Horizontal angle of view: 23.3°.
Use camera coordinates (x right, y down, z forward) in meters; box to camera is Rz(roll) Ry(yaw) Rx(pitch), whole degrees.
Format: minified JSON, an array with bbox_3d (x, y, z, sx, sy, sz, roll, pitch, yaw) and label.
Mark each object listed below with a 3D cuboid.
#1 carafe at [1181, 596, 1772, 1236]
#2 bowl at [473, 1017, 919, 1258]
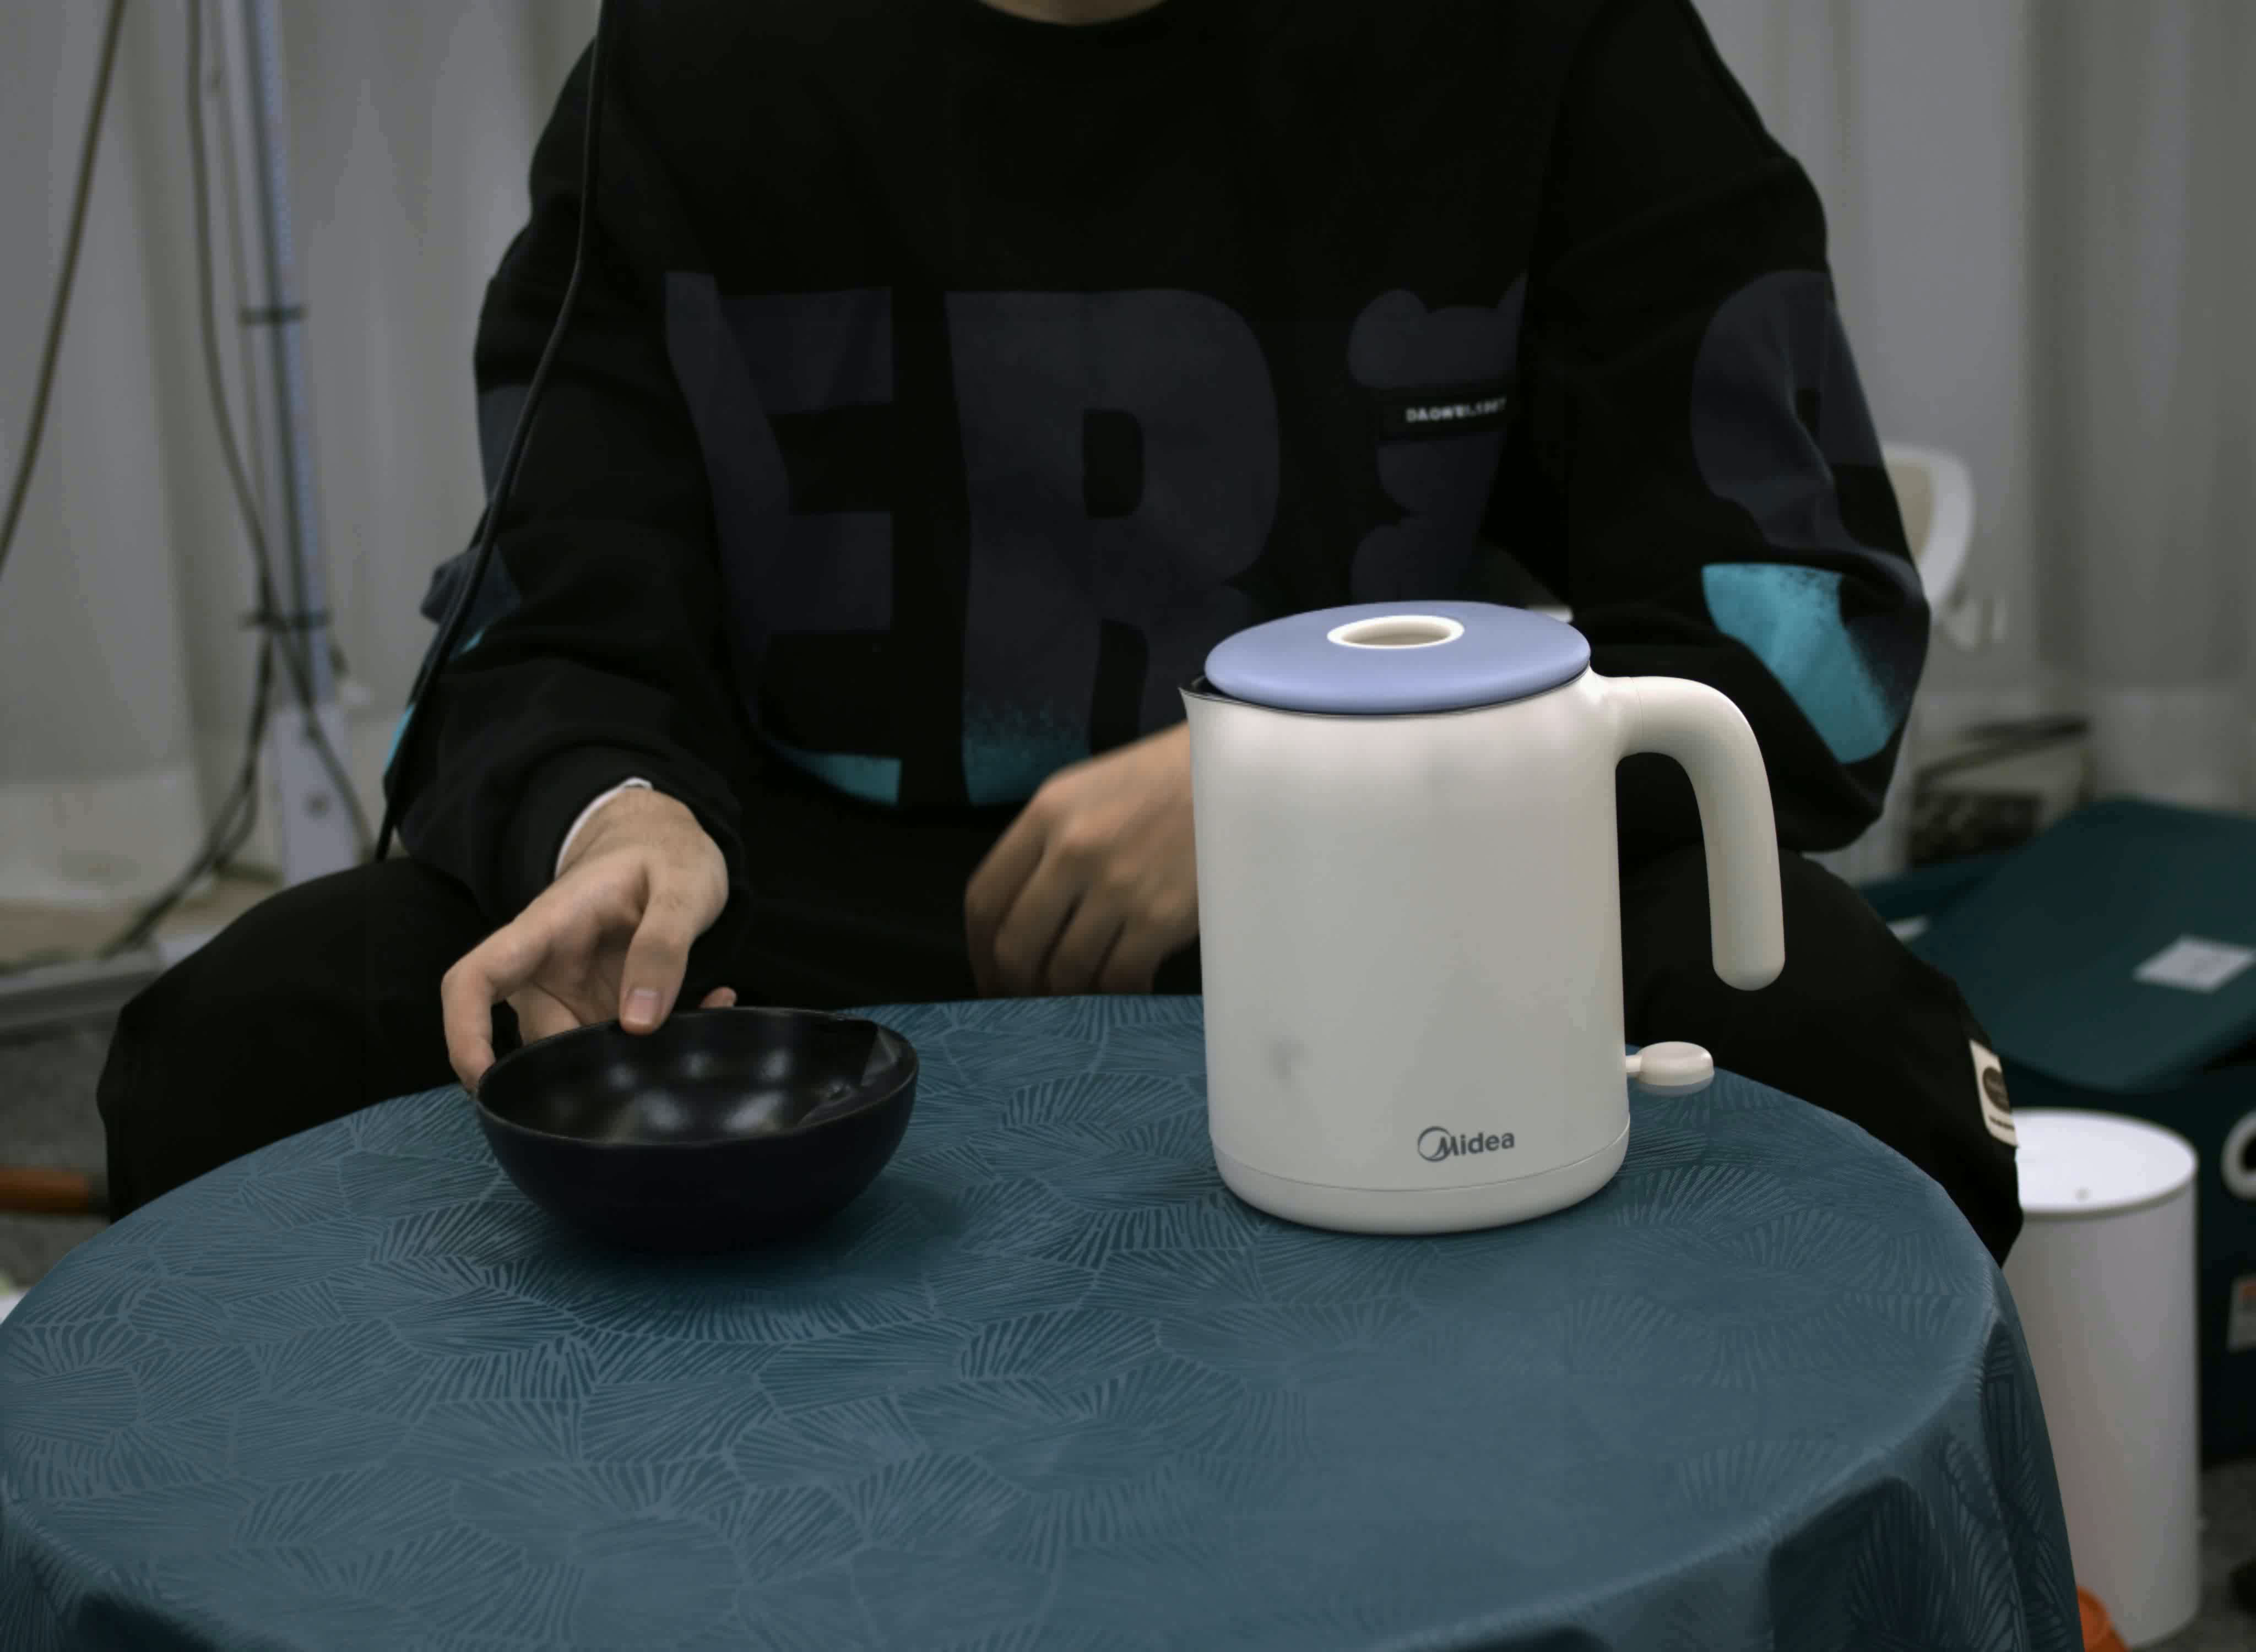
[{"bbox_3d":[0.110,0.025,1.699,0.190,0.182,0.133,-4,15,-11],"label":"carafe"},{"bbox_3d":[-0.132,0.101,1.701,0.139,0.049,0.141,-3,12,0],"label":"bowl"}]
